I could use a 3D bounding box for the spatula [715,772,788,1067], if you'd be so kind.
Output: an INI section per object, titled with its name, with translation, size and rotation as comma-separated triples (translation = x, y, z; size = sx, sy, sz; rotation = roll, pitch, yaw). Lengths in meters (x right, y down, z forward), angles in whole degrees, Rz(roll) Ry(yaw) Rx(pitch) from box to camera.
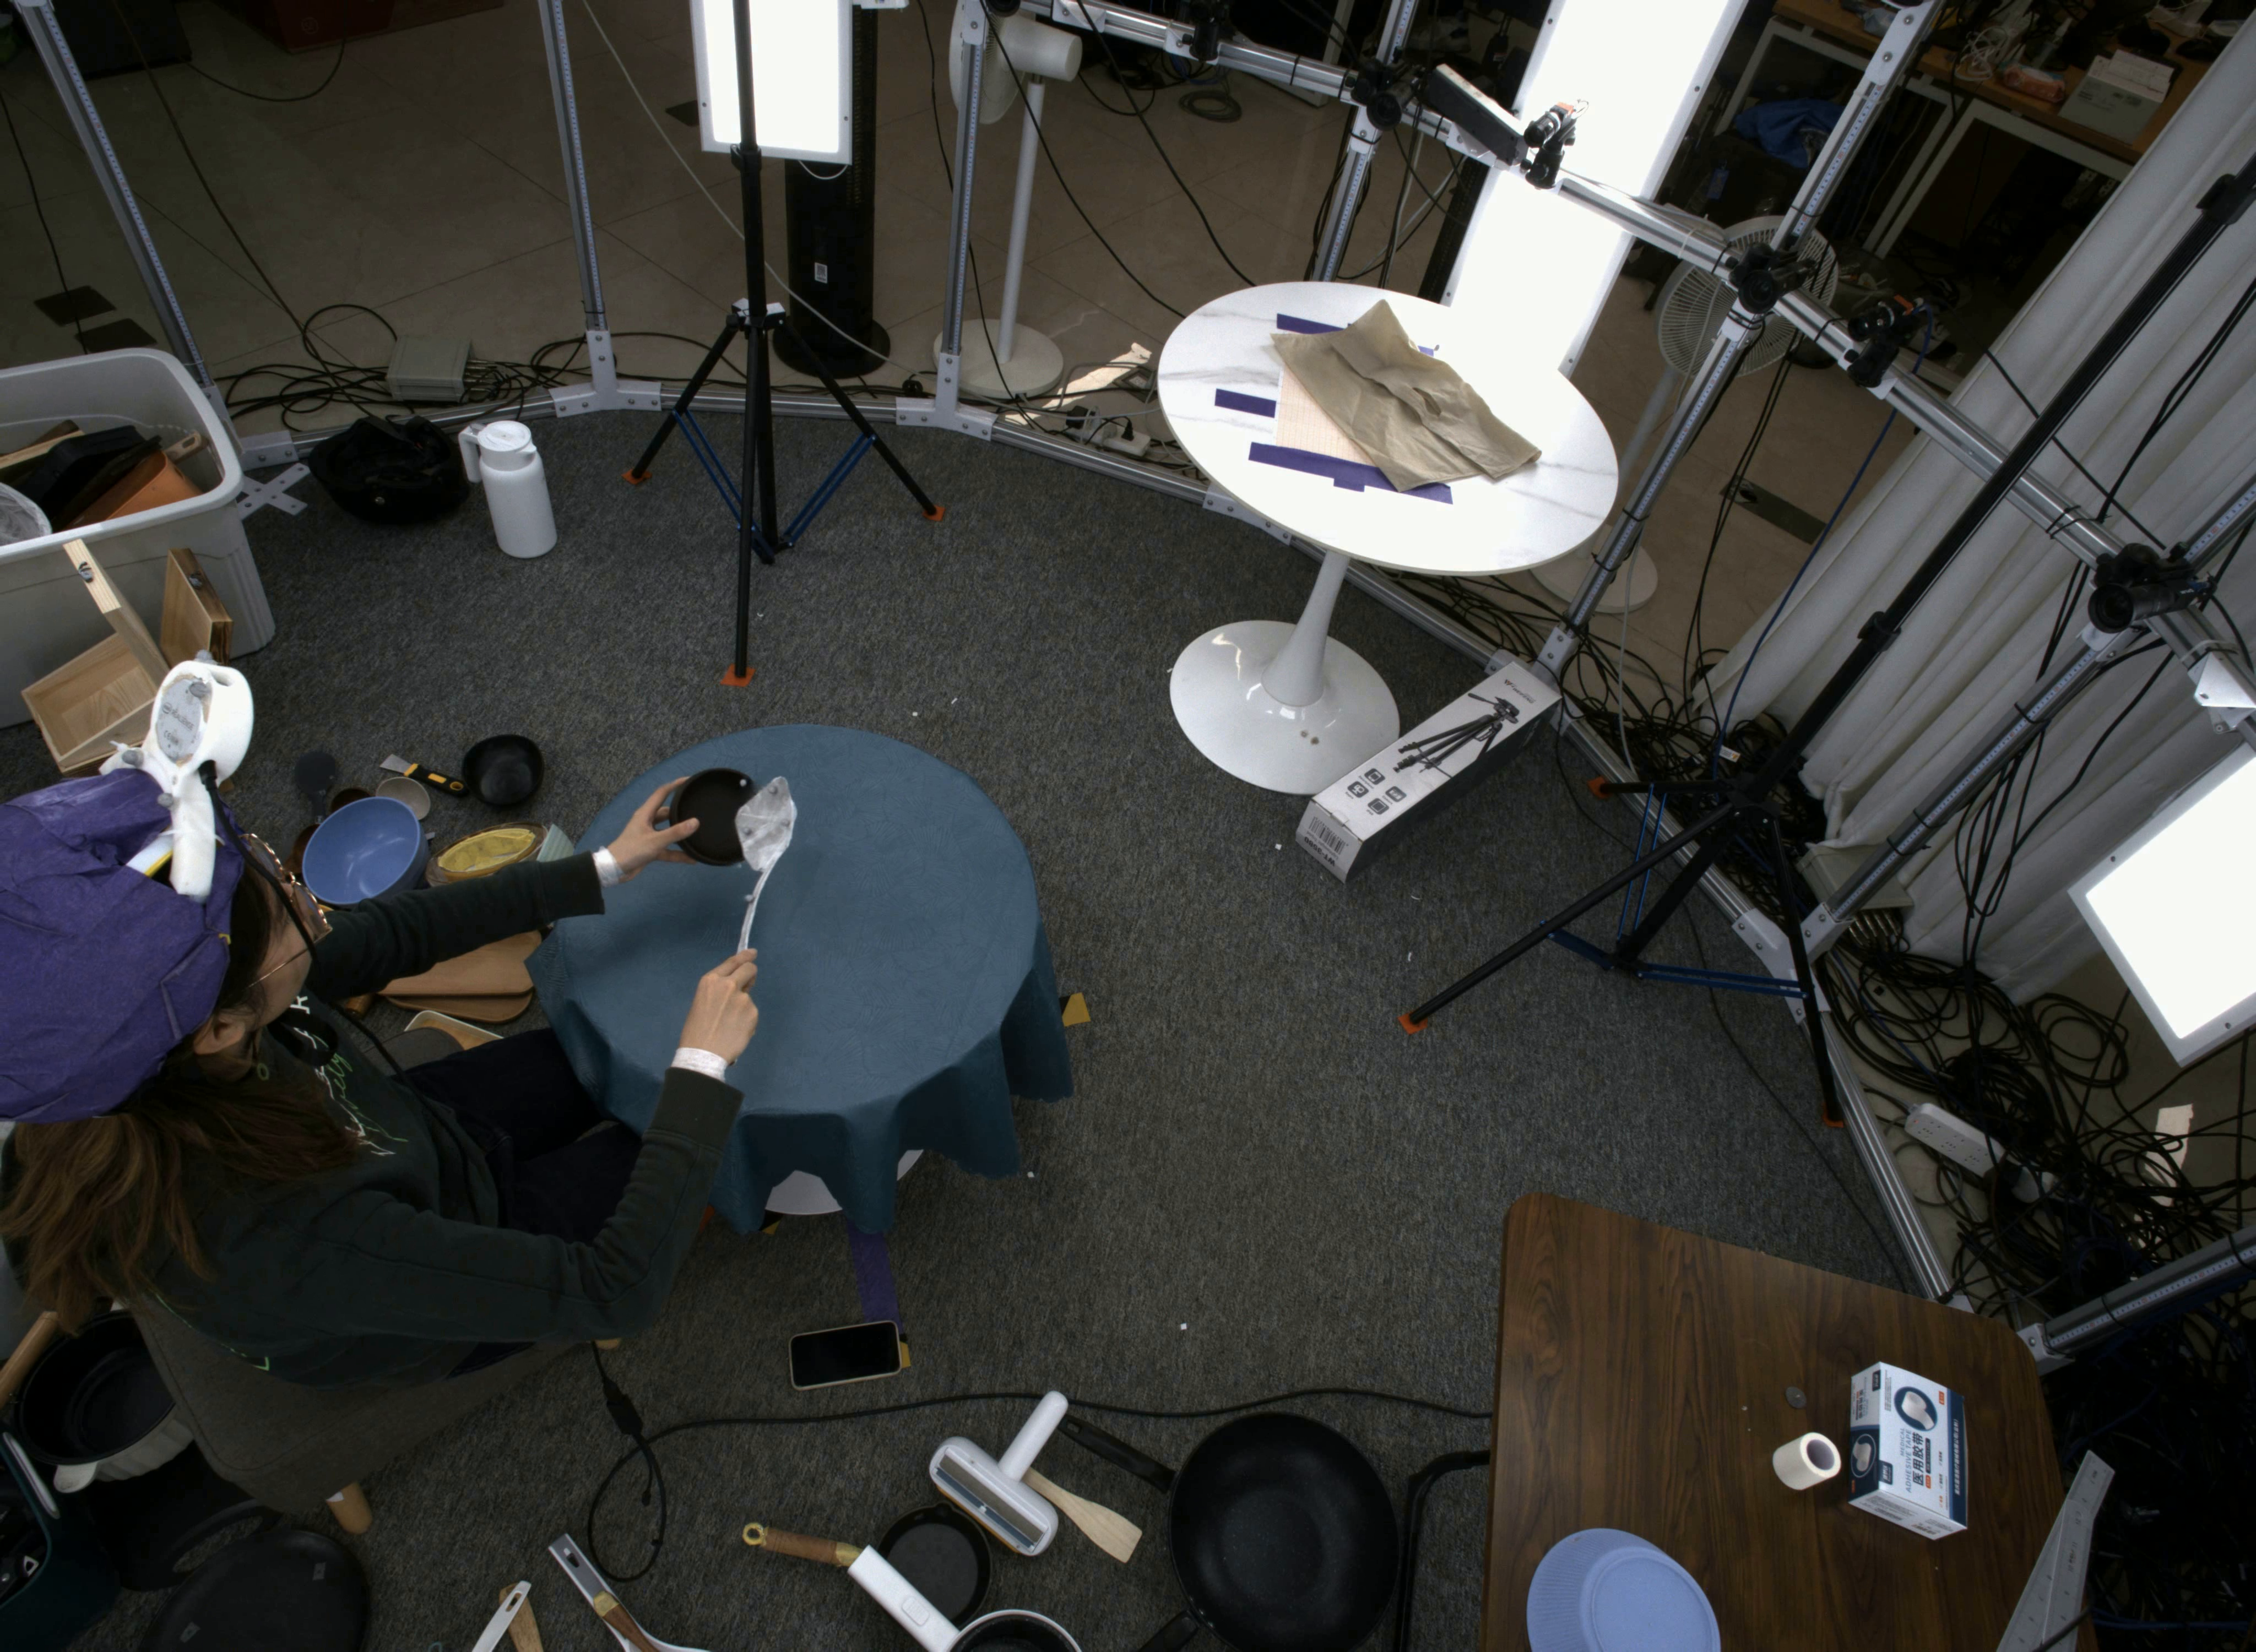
[spatula]
translation = -0.414, 0.090, 1.382
size = 0.046, 0.097, 0.357
rotation = 38, 33, -34

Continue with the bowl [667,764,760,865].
[bowl]
translation = -0.496, -0.013, 1.550
size = 0.120, 0.068, 0.119
rotation = 3, 85, -29
